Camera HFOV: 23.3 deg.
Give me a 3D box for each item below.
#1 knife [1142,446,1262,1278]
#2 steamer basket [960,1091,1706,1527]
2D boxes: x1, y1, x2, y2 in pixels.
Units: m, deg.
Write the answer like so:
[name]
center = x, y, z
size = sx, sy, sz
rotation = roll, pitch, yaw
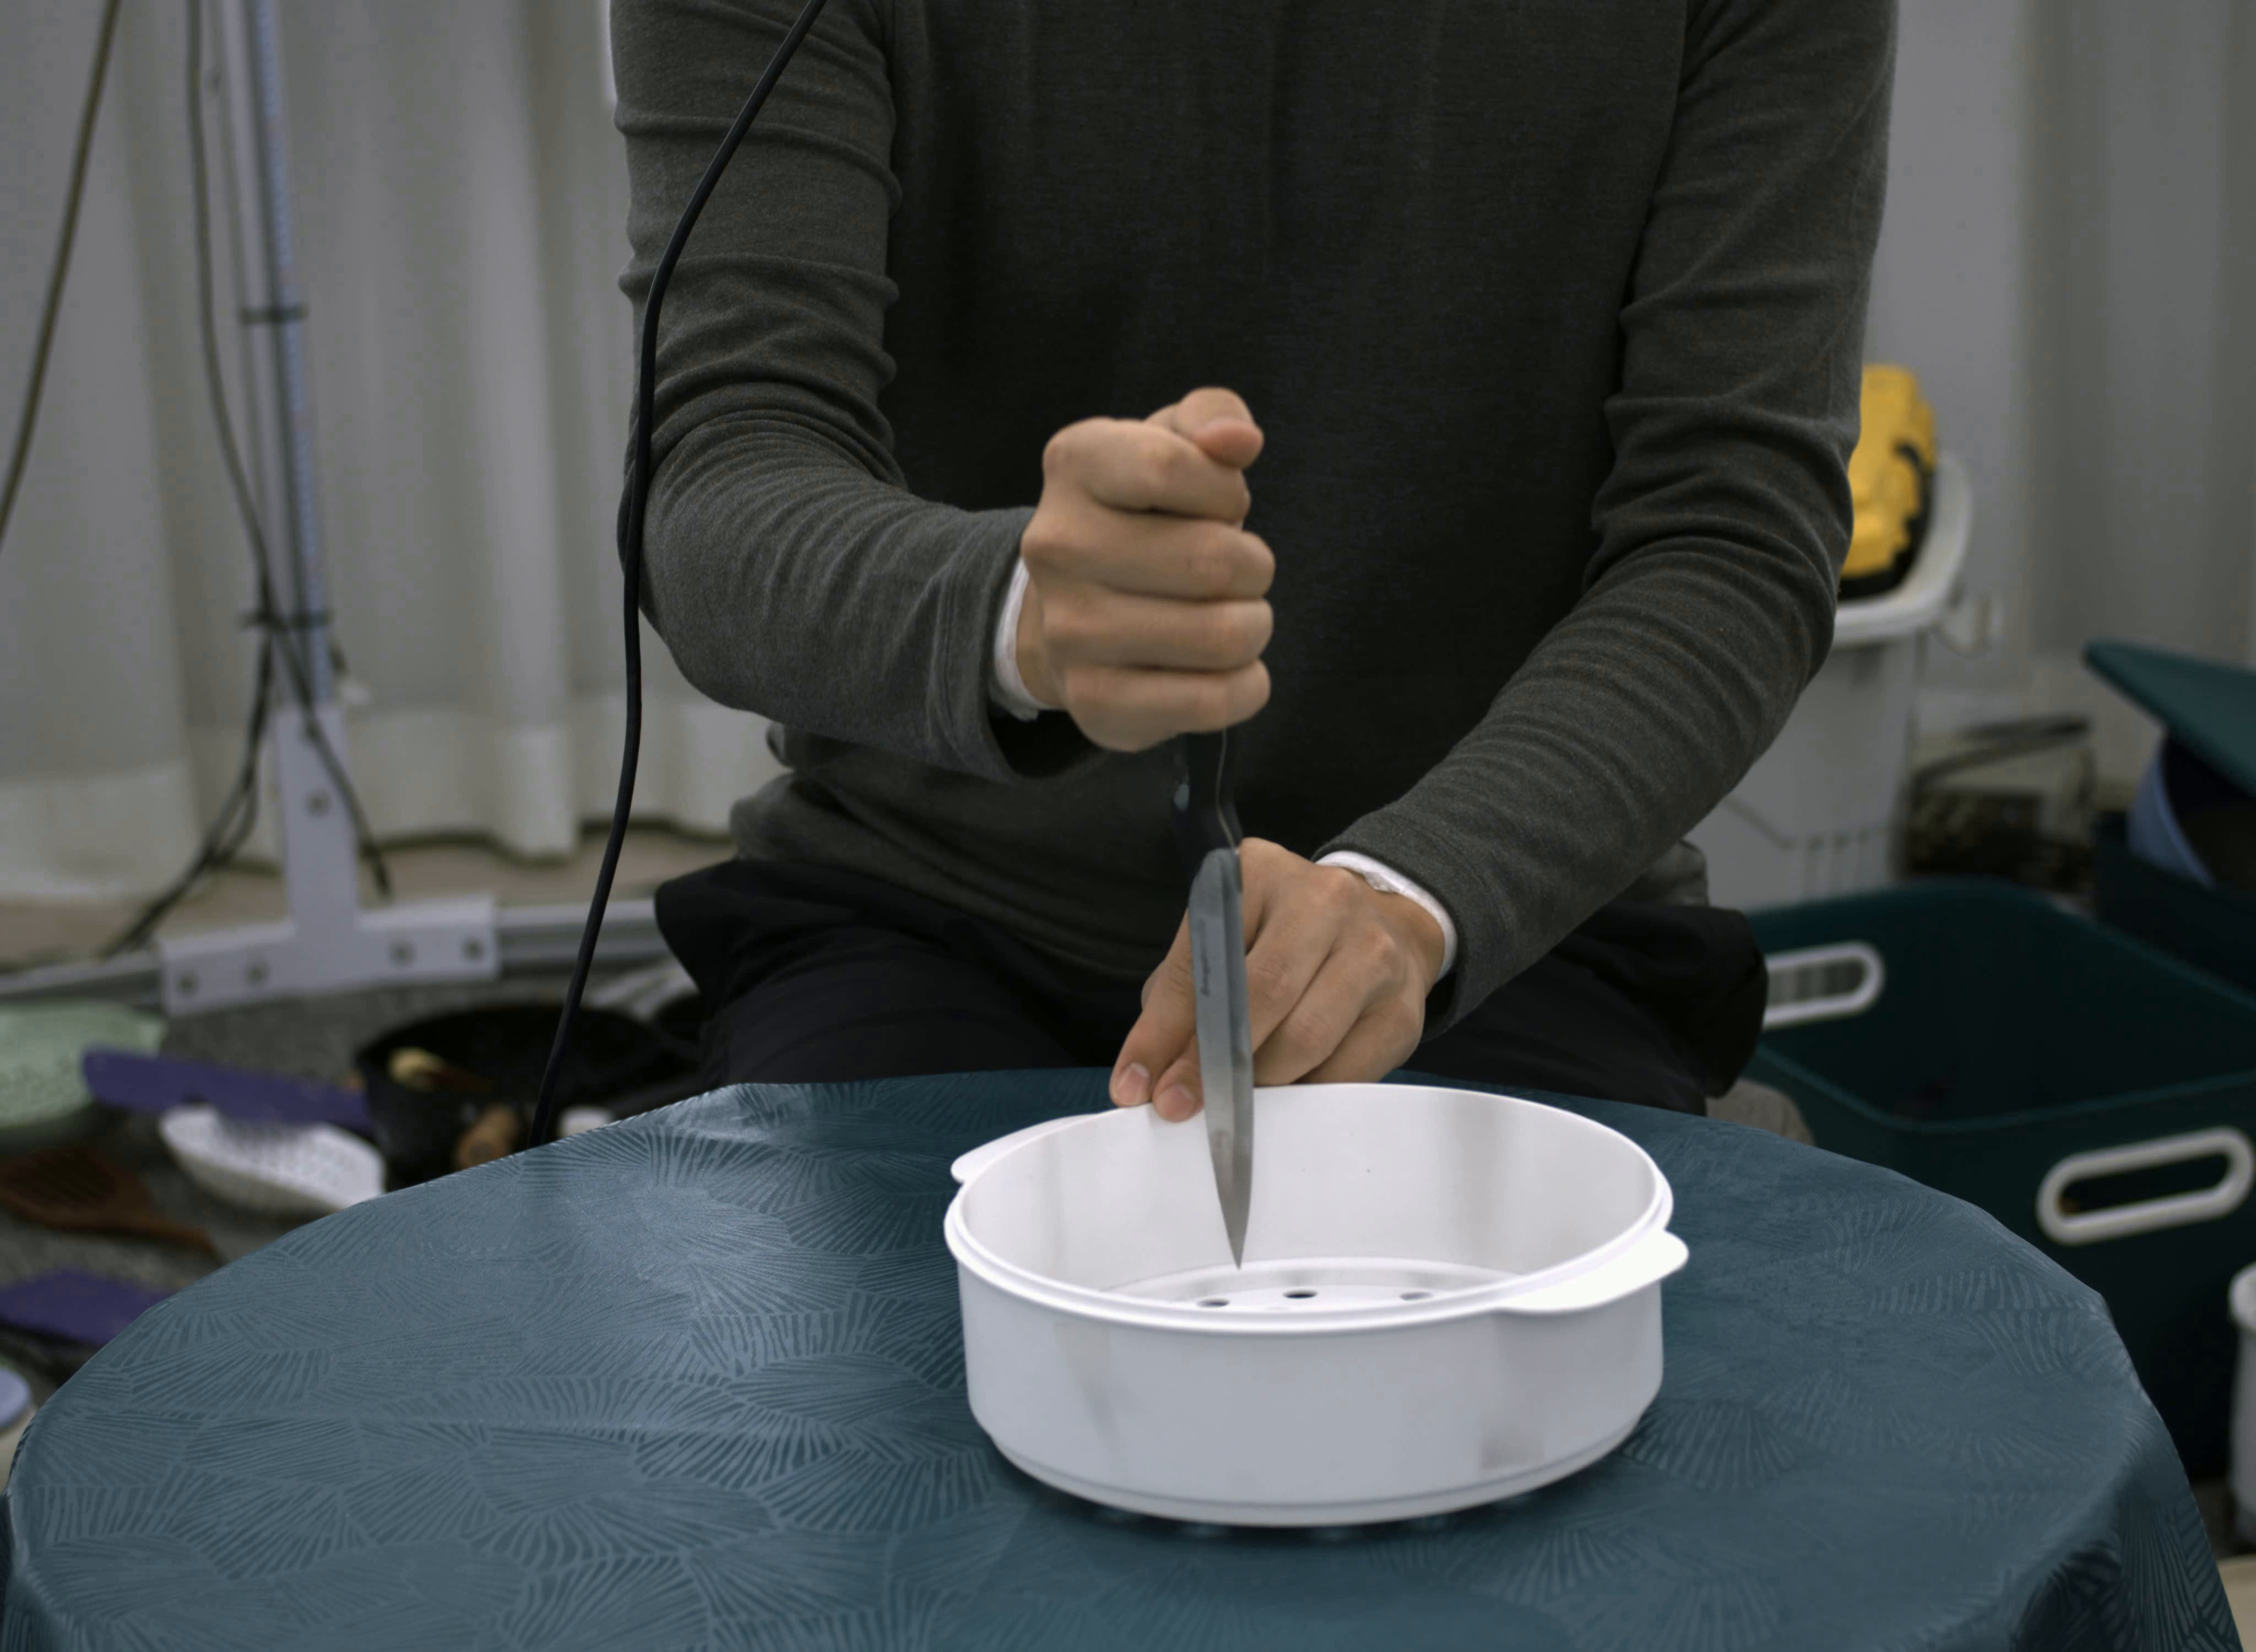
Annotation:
[knife]
center = 0.022, 0.012, 1.505
size = 0.016, 0.237, 0.024
rotation = -16, 17, -35
[steamer basket]
center = 0.055, 0.132, 1.508
size = 0.231, 0.069, 0.201
rotation = 9, 18, 41
